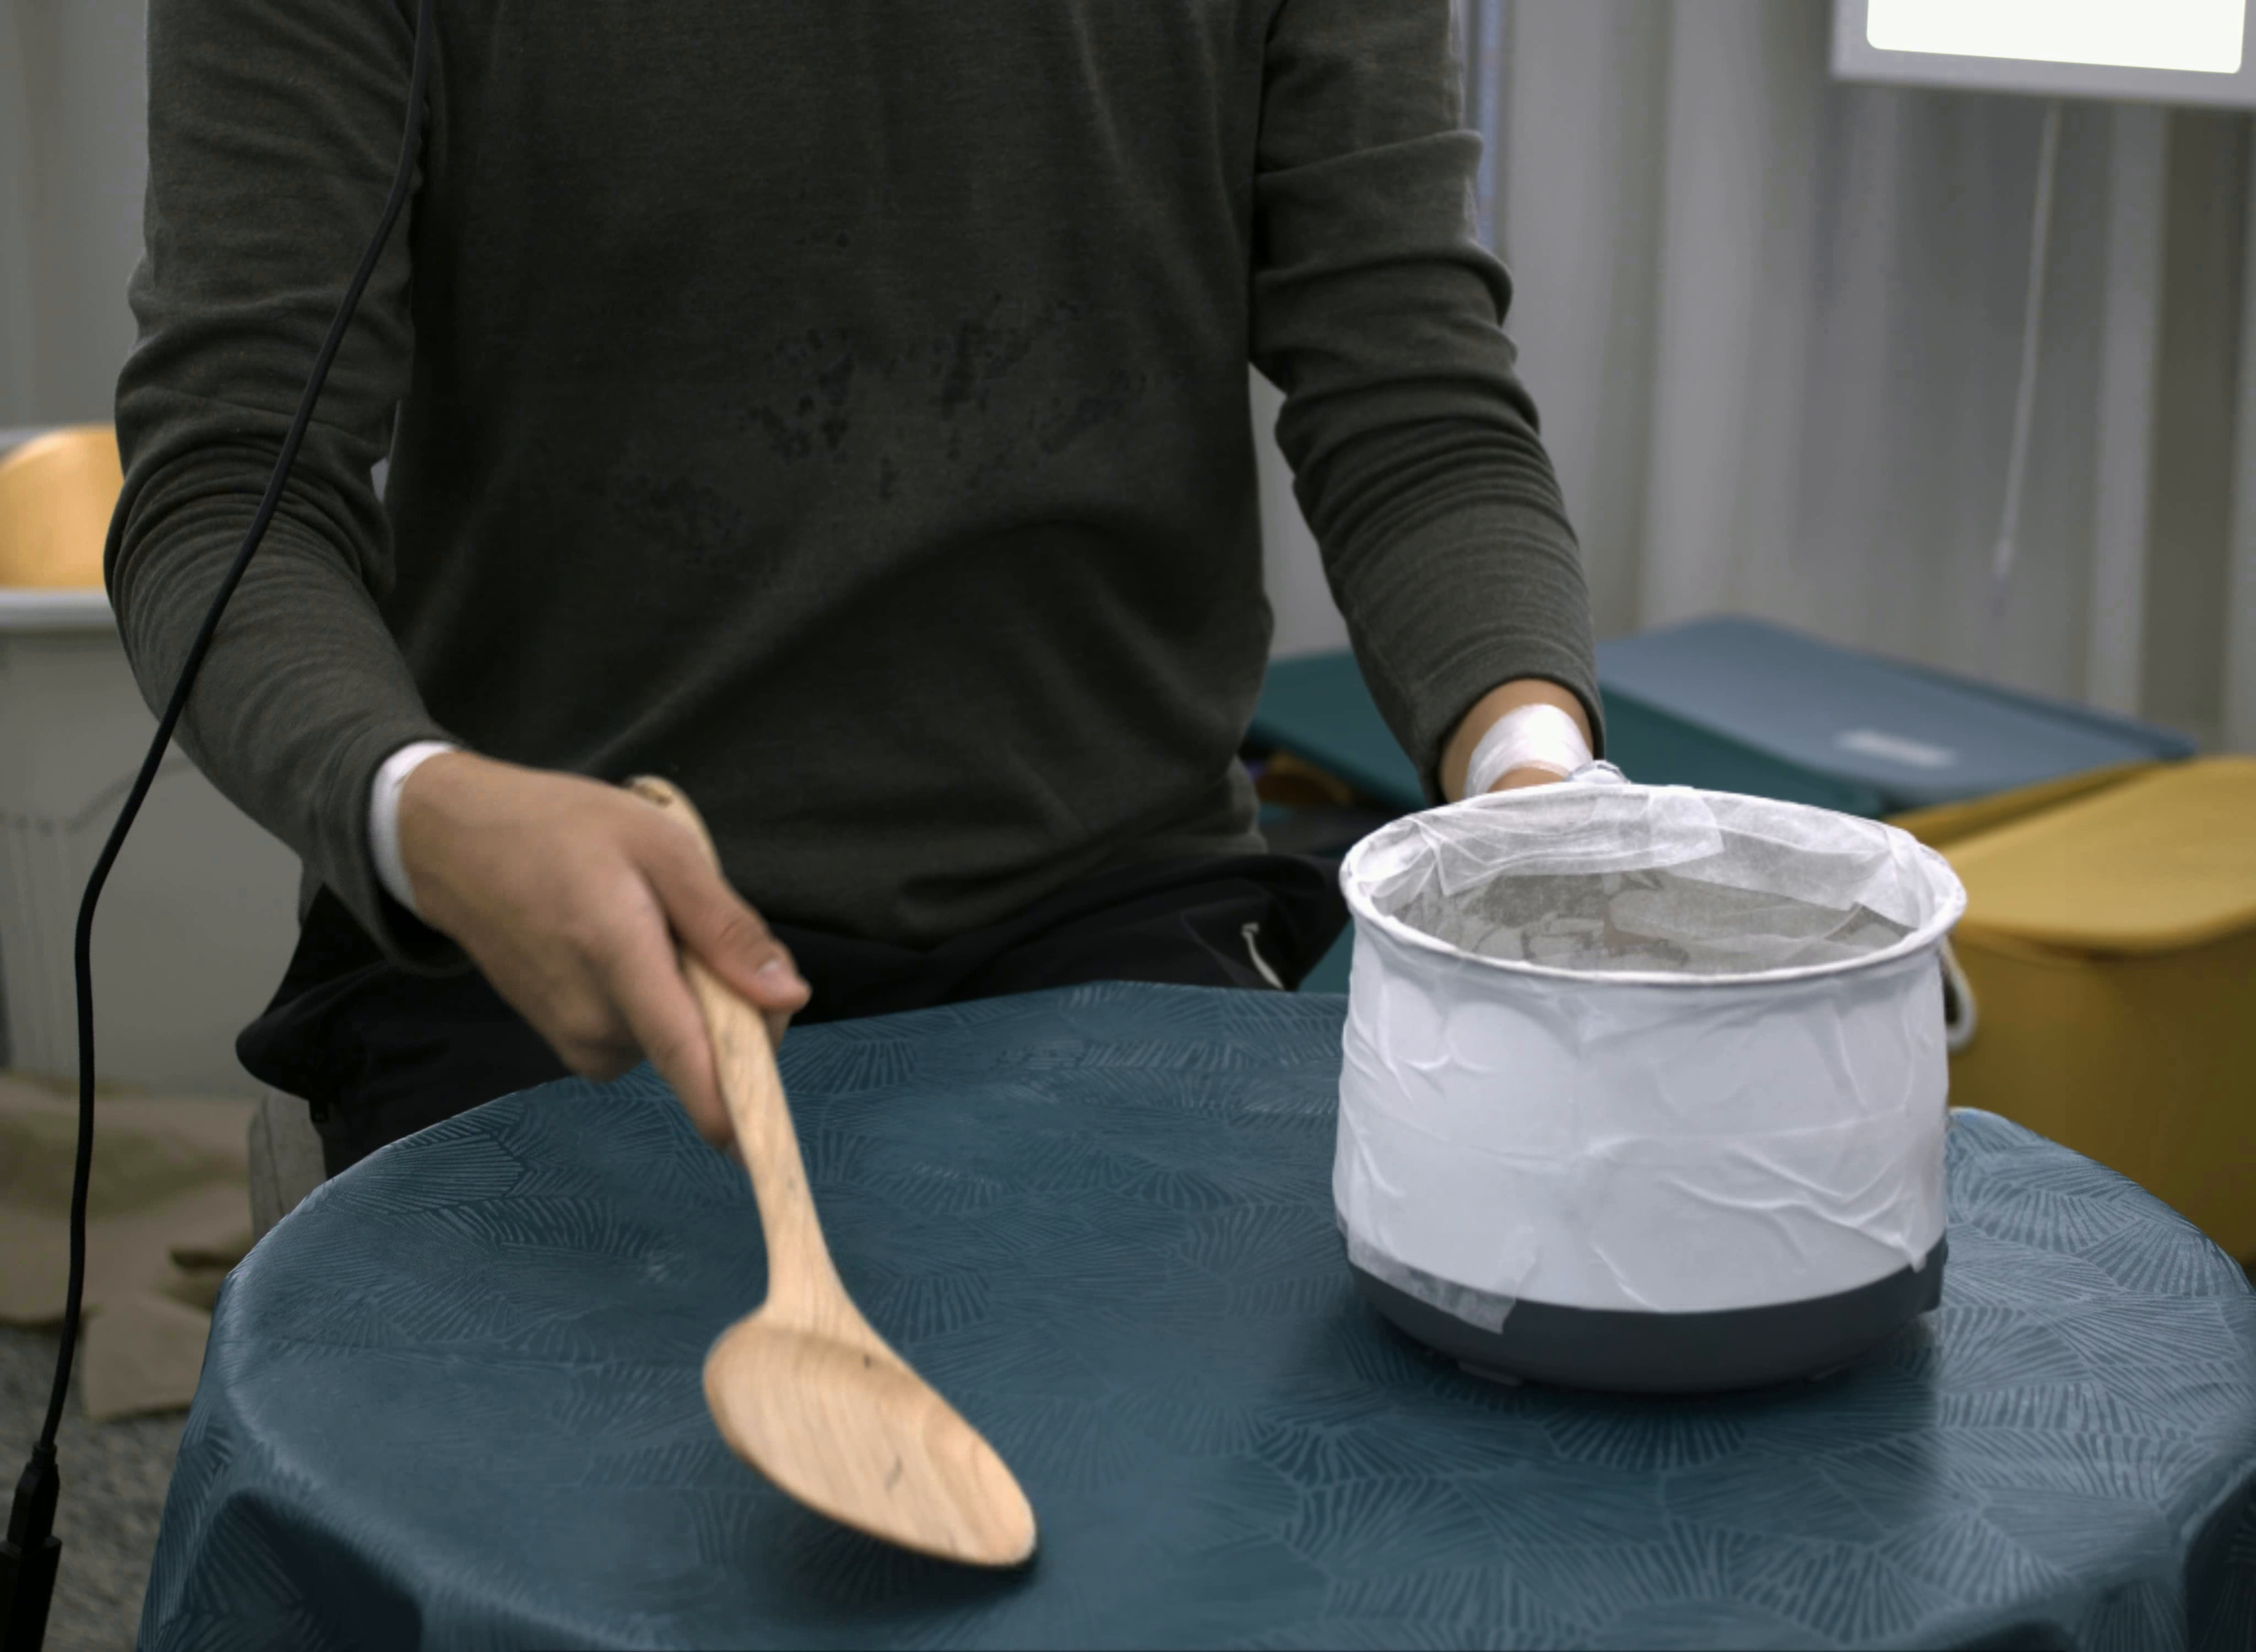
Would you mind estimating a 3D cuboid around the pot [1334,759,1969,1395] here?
[{"bbox_3d":[0.145,0.066,1.528,0.178,0.138,0.232,-1,17,-6],"label":"pot"}]

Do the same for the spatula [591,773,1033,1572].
[{"bbox_3d":[-0.109,0.084,1.463,0.096,0.018,0.386,21,24,-28],"label":"spatula"}]
